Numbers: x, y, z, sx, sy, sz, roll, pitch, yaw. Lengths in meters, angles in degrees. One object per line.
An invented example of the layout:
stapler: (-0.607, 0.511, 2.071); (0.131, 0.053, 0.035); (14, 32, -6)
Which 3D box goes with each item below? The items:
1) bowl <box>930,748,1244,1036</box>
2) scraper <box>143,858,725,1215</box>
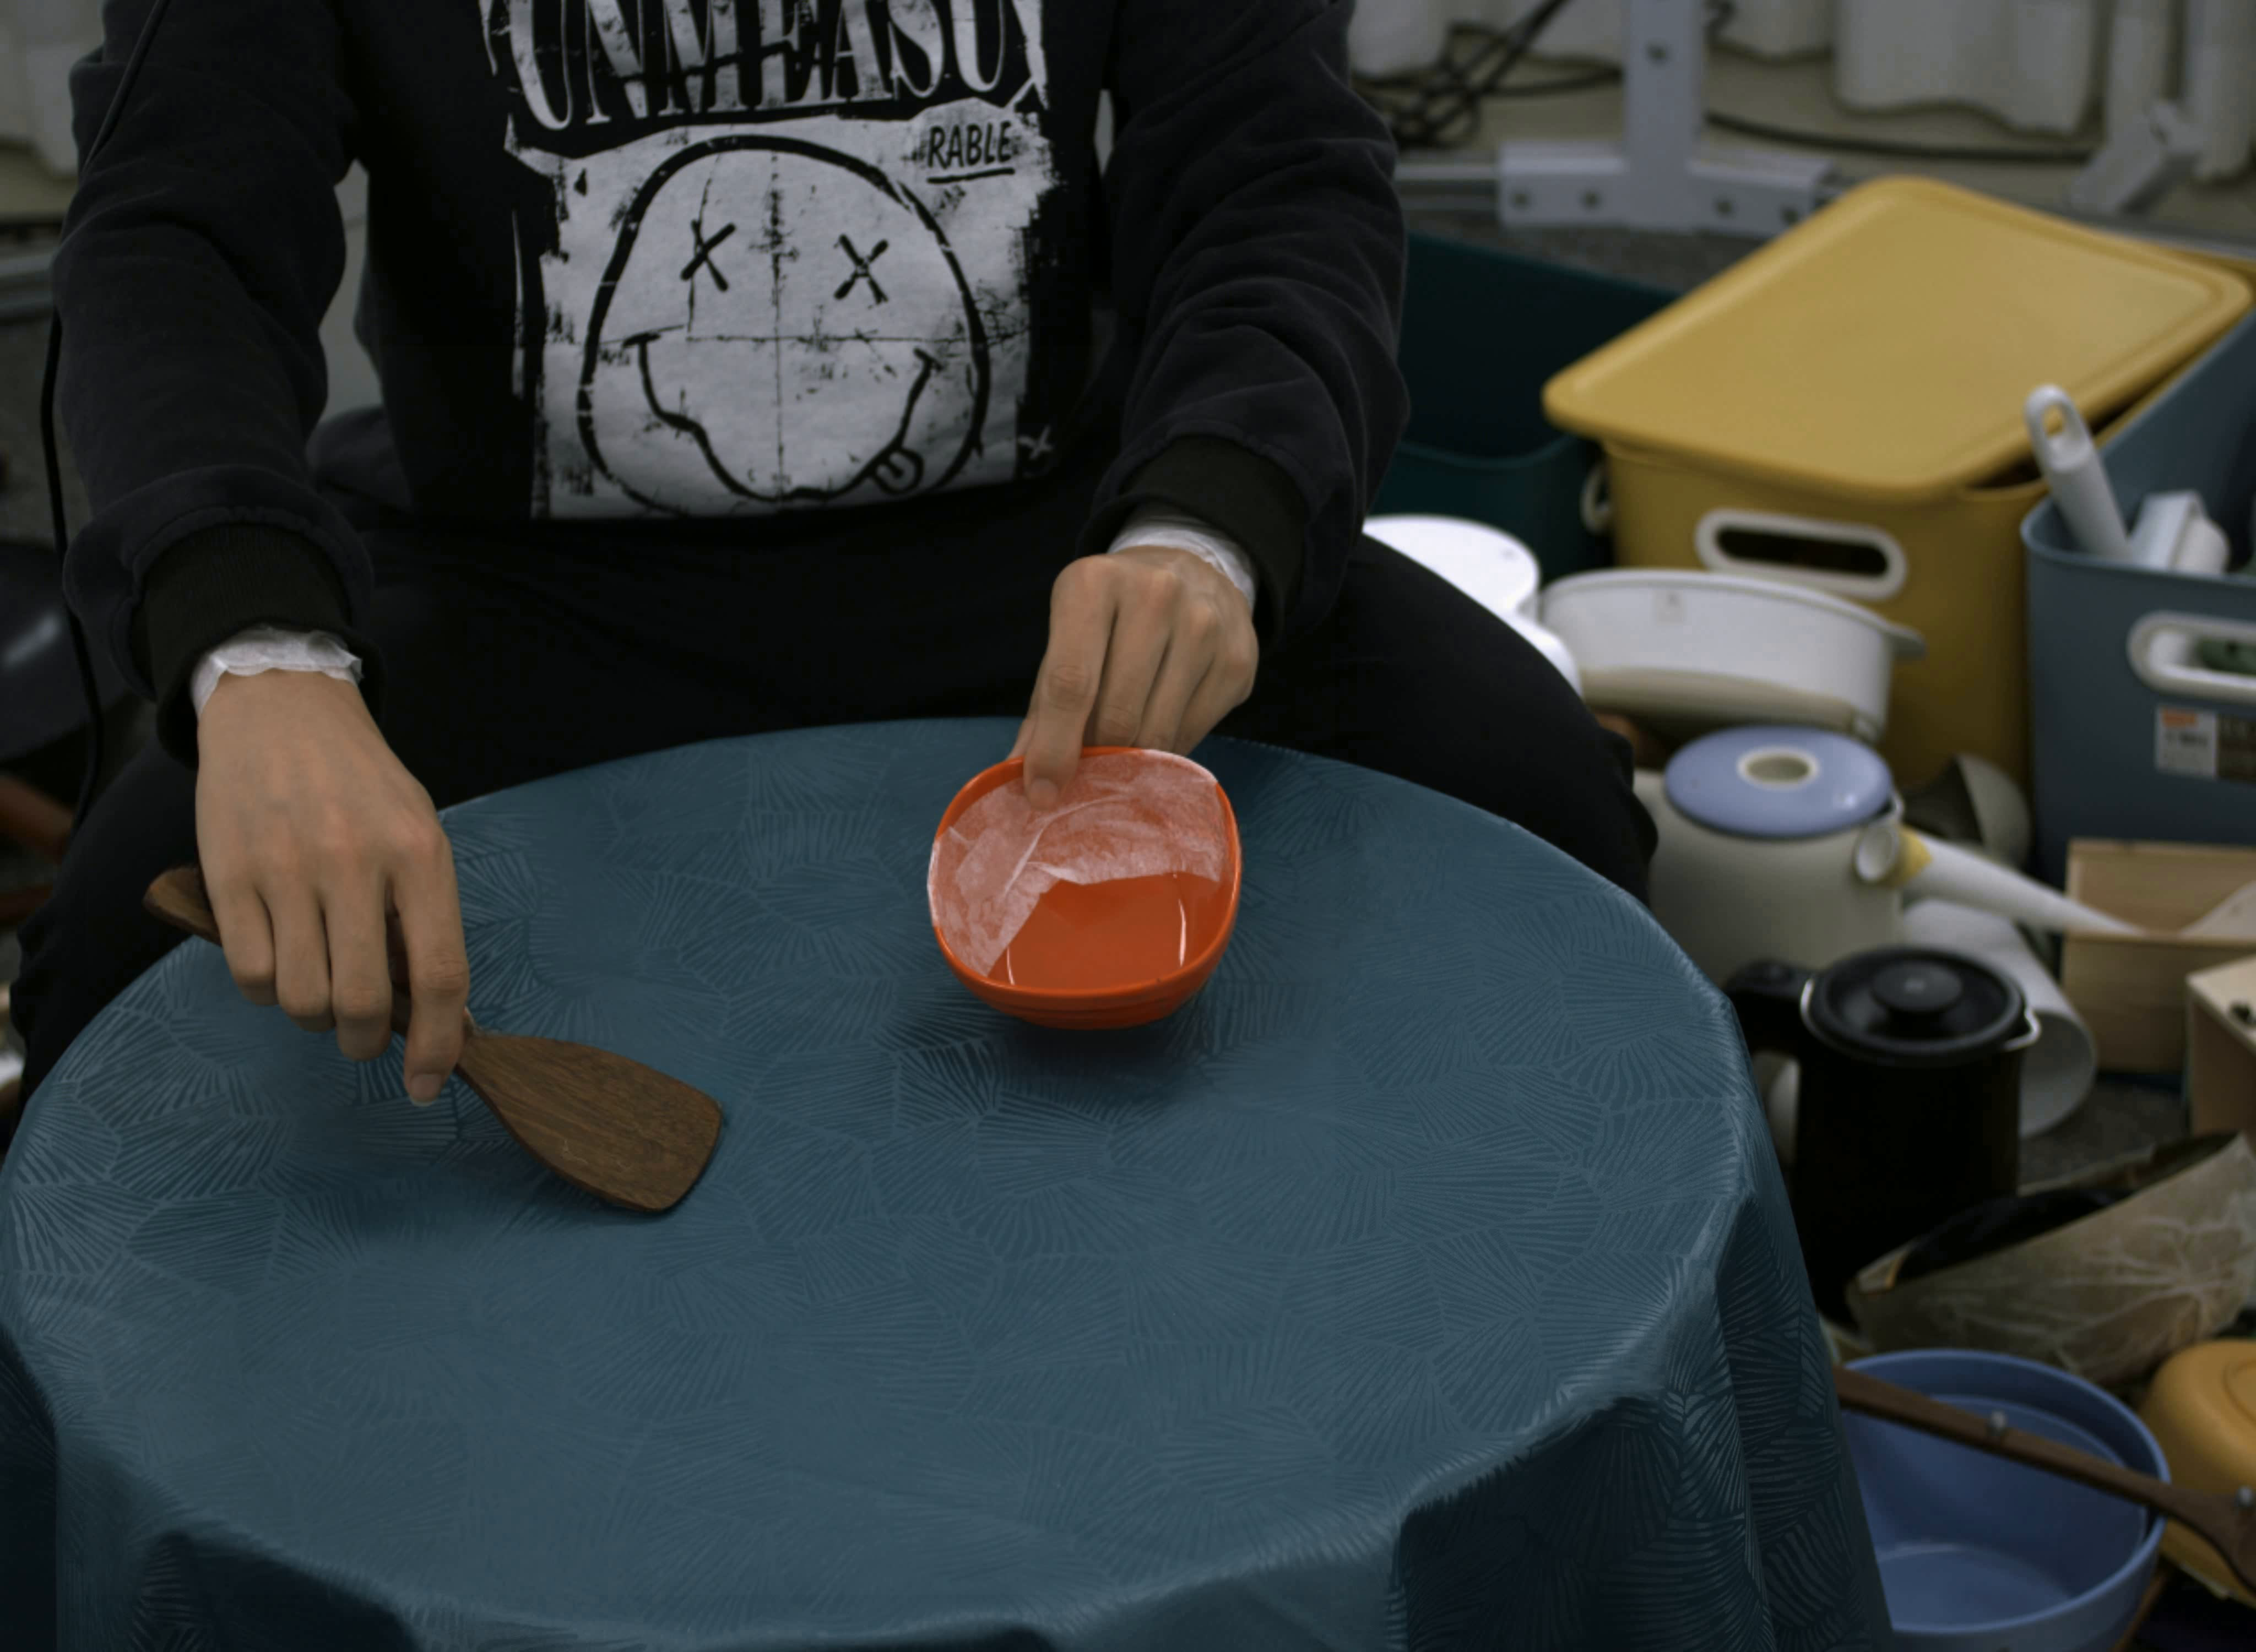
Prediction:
bowl: (-0.012, 0.031, 1.962); (0.118, 0.050, 0.121); (-3, 51, 4)
scraper: (-0.235, 0.067, 1.888); (0.211, 0.010, 0.077); (28, 33, 0)
